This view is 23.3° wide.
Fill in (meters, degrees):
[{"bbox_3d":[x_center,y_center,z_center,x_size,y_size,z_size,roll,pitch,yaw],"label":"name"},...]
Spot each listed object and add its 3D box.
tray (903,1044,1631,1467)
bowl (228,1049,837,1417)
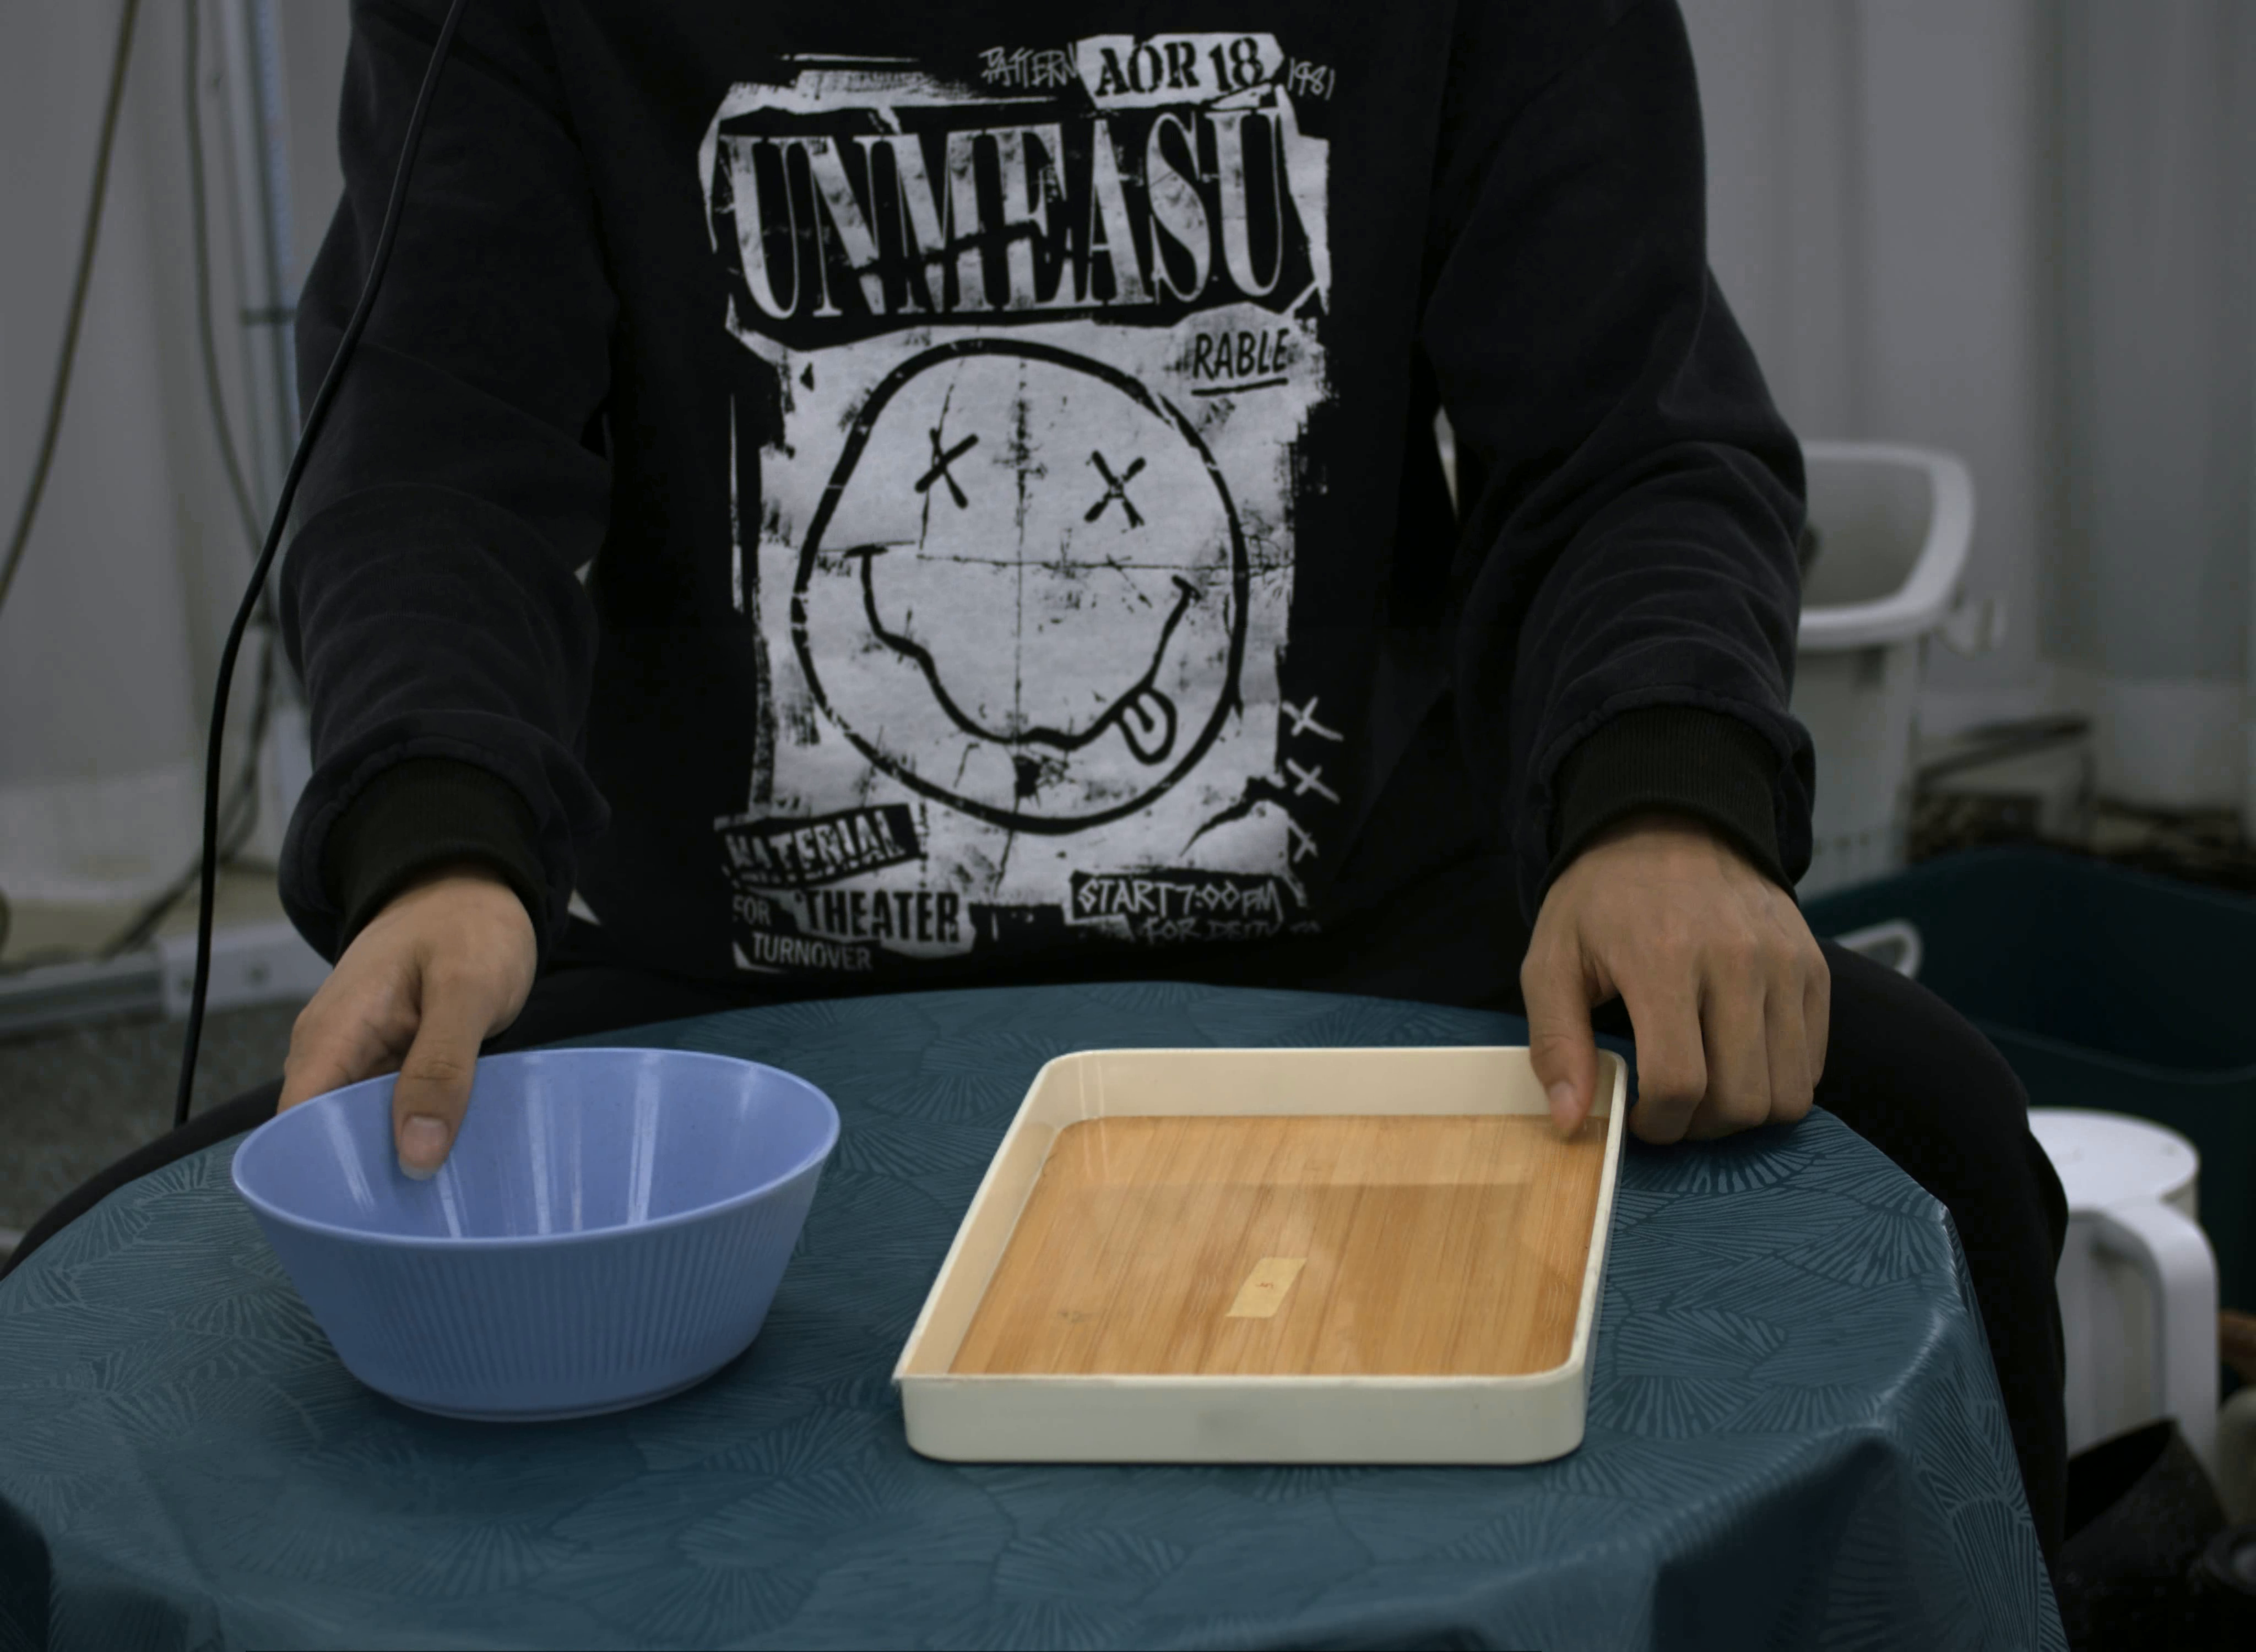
[{"bbox_3d":[0.049,0.124,1.622,0.191,0.027,0.302,-1,15,8],"label":"tray"},{"bbox_3d":[-0.171,0.121,1.587,0.175,0.070,0.177,-2,15,0],"label":"bowl"}]
